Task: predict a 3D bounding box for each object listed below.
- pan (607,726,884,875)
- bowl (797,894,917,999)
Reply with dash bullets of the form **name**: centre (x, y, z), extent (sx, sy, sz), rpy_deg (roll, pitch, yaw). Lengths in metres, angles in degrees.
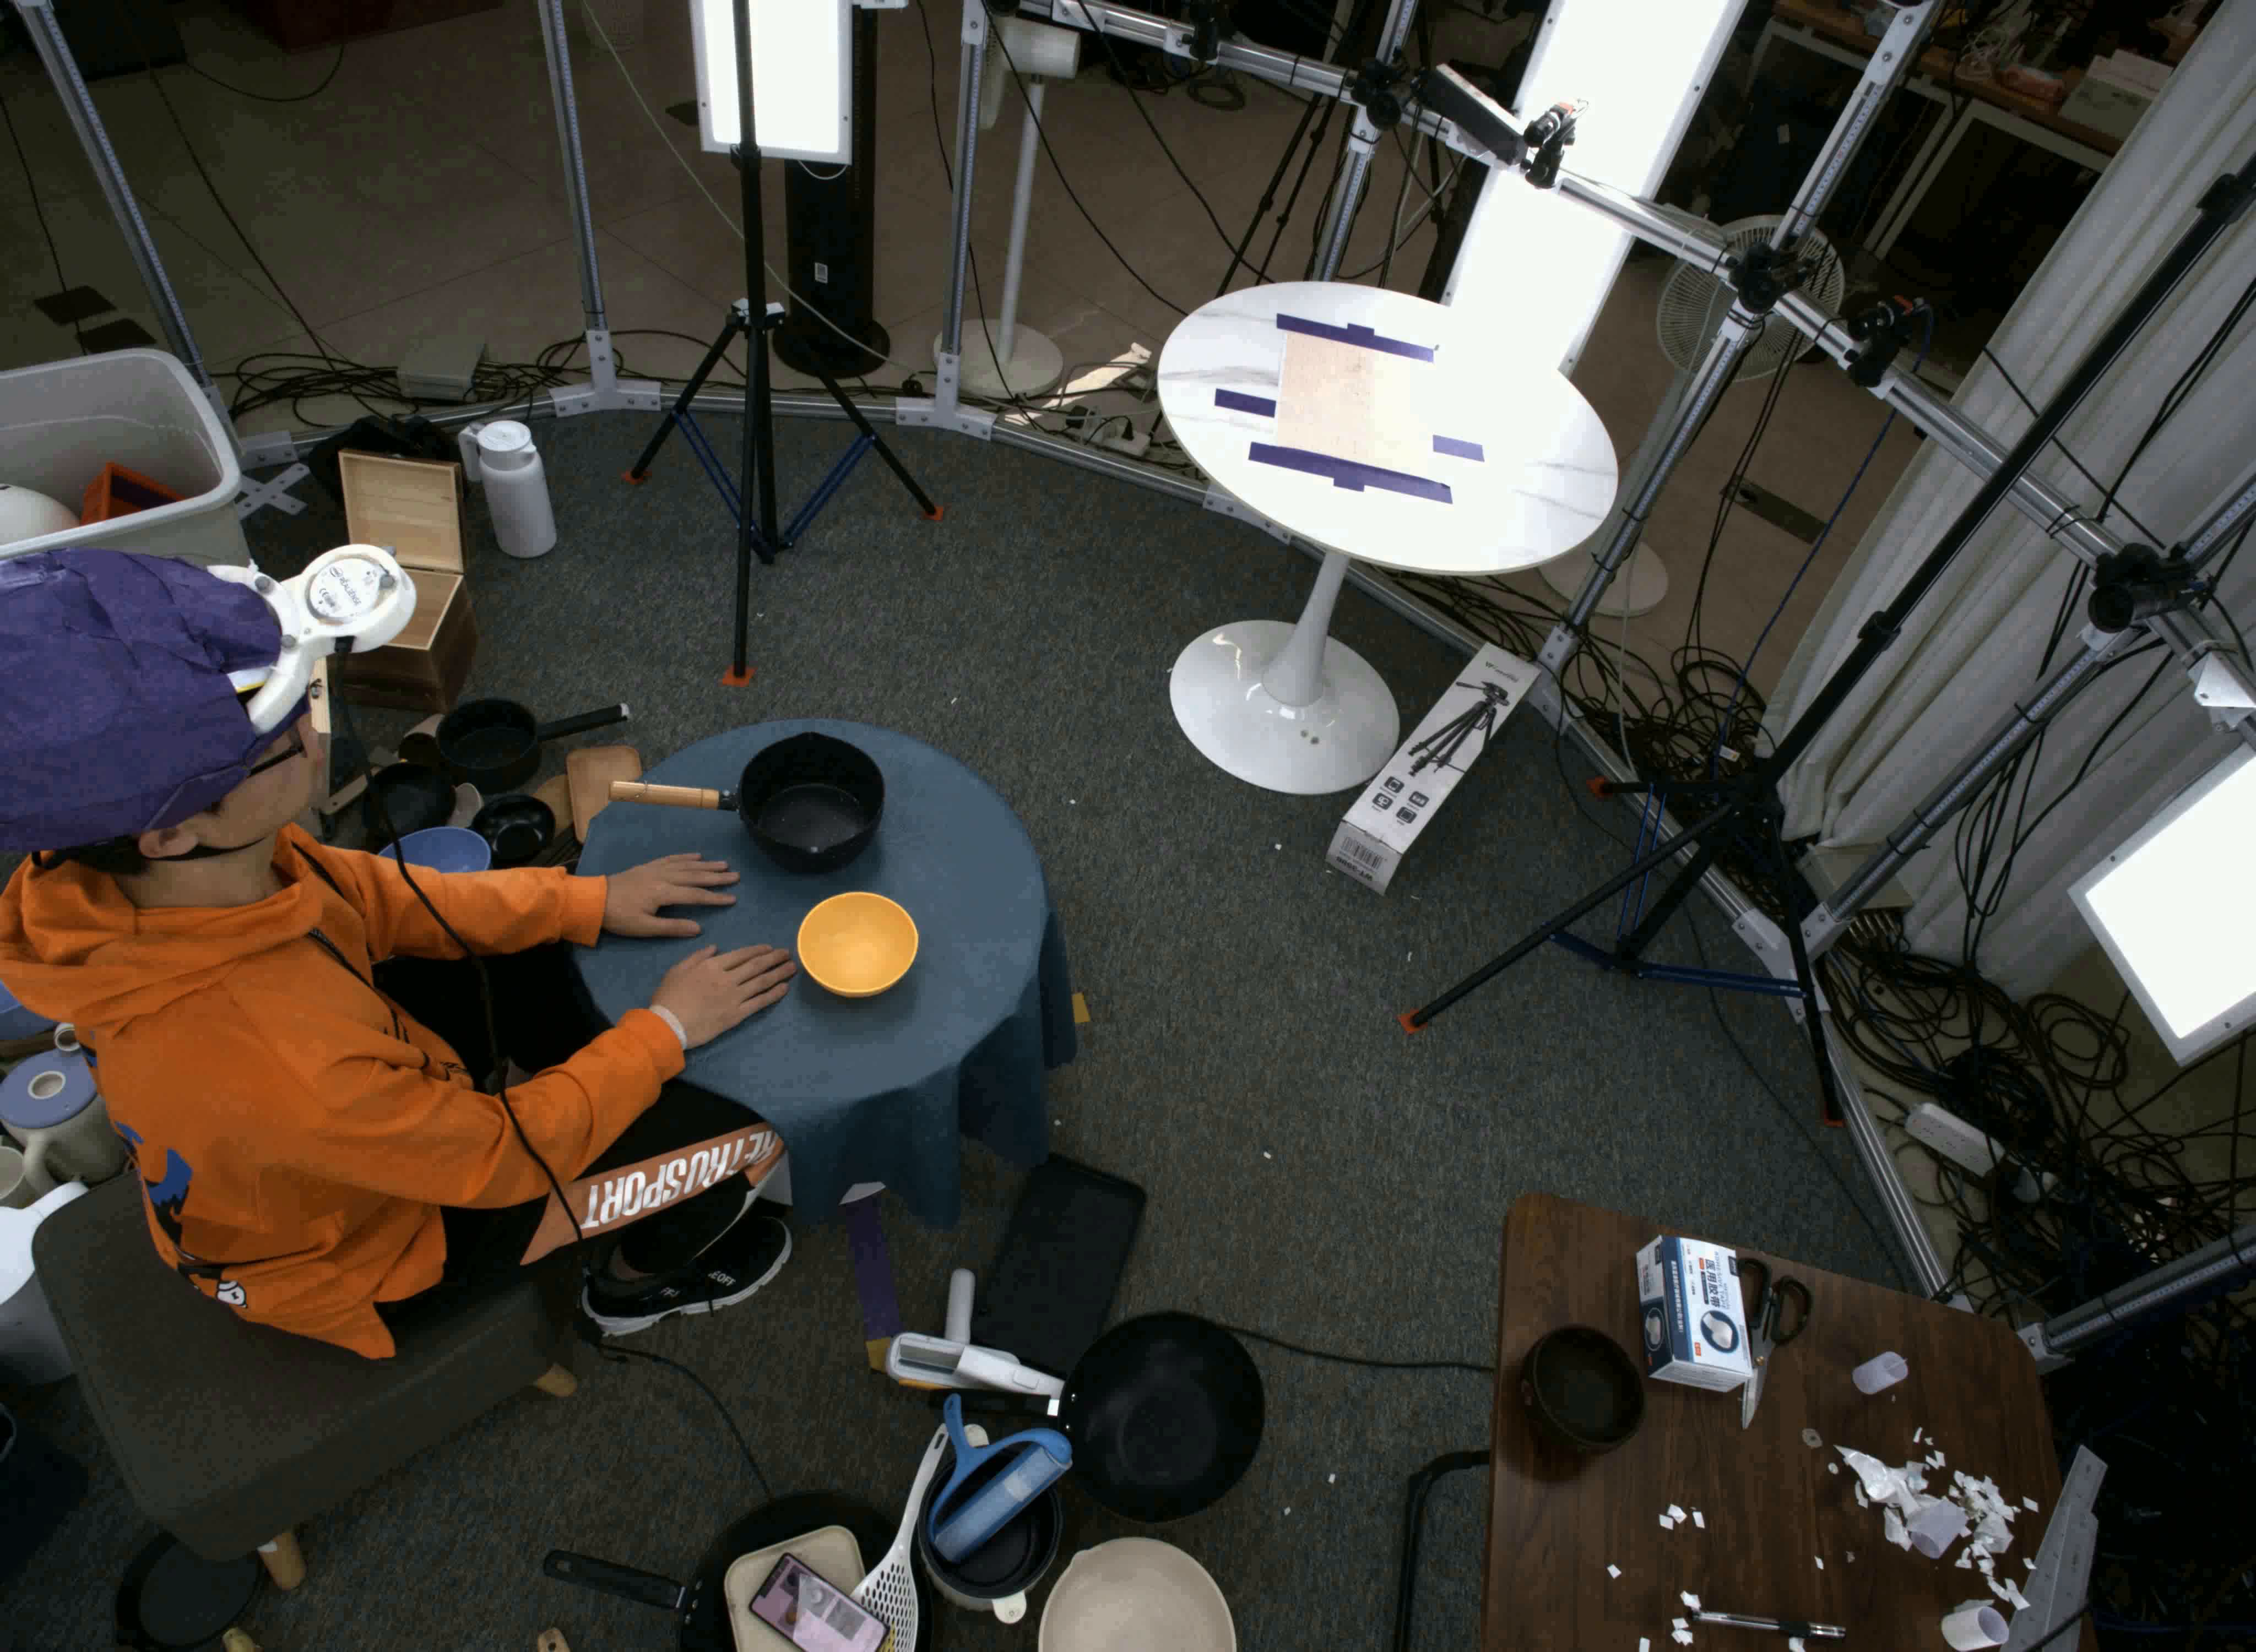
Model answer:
- **pan**: centre (-0.485, -0.026, 1.647), extent (0.344, 0.110, 0.203), rpy_deg (-3, 56, -18)
- **bowl**: centre (-0.330, 0.156, 1.584), extent (0.145, 0.061, 0.142), rpy_deg (8, 51, -8)
